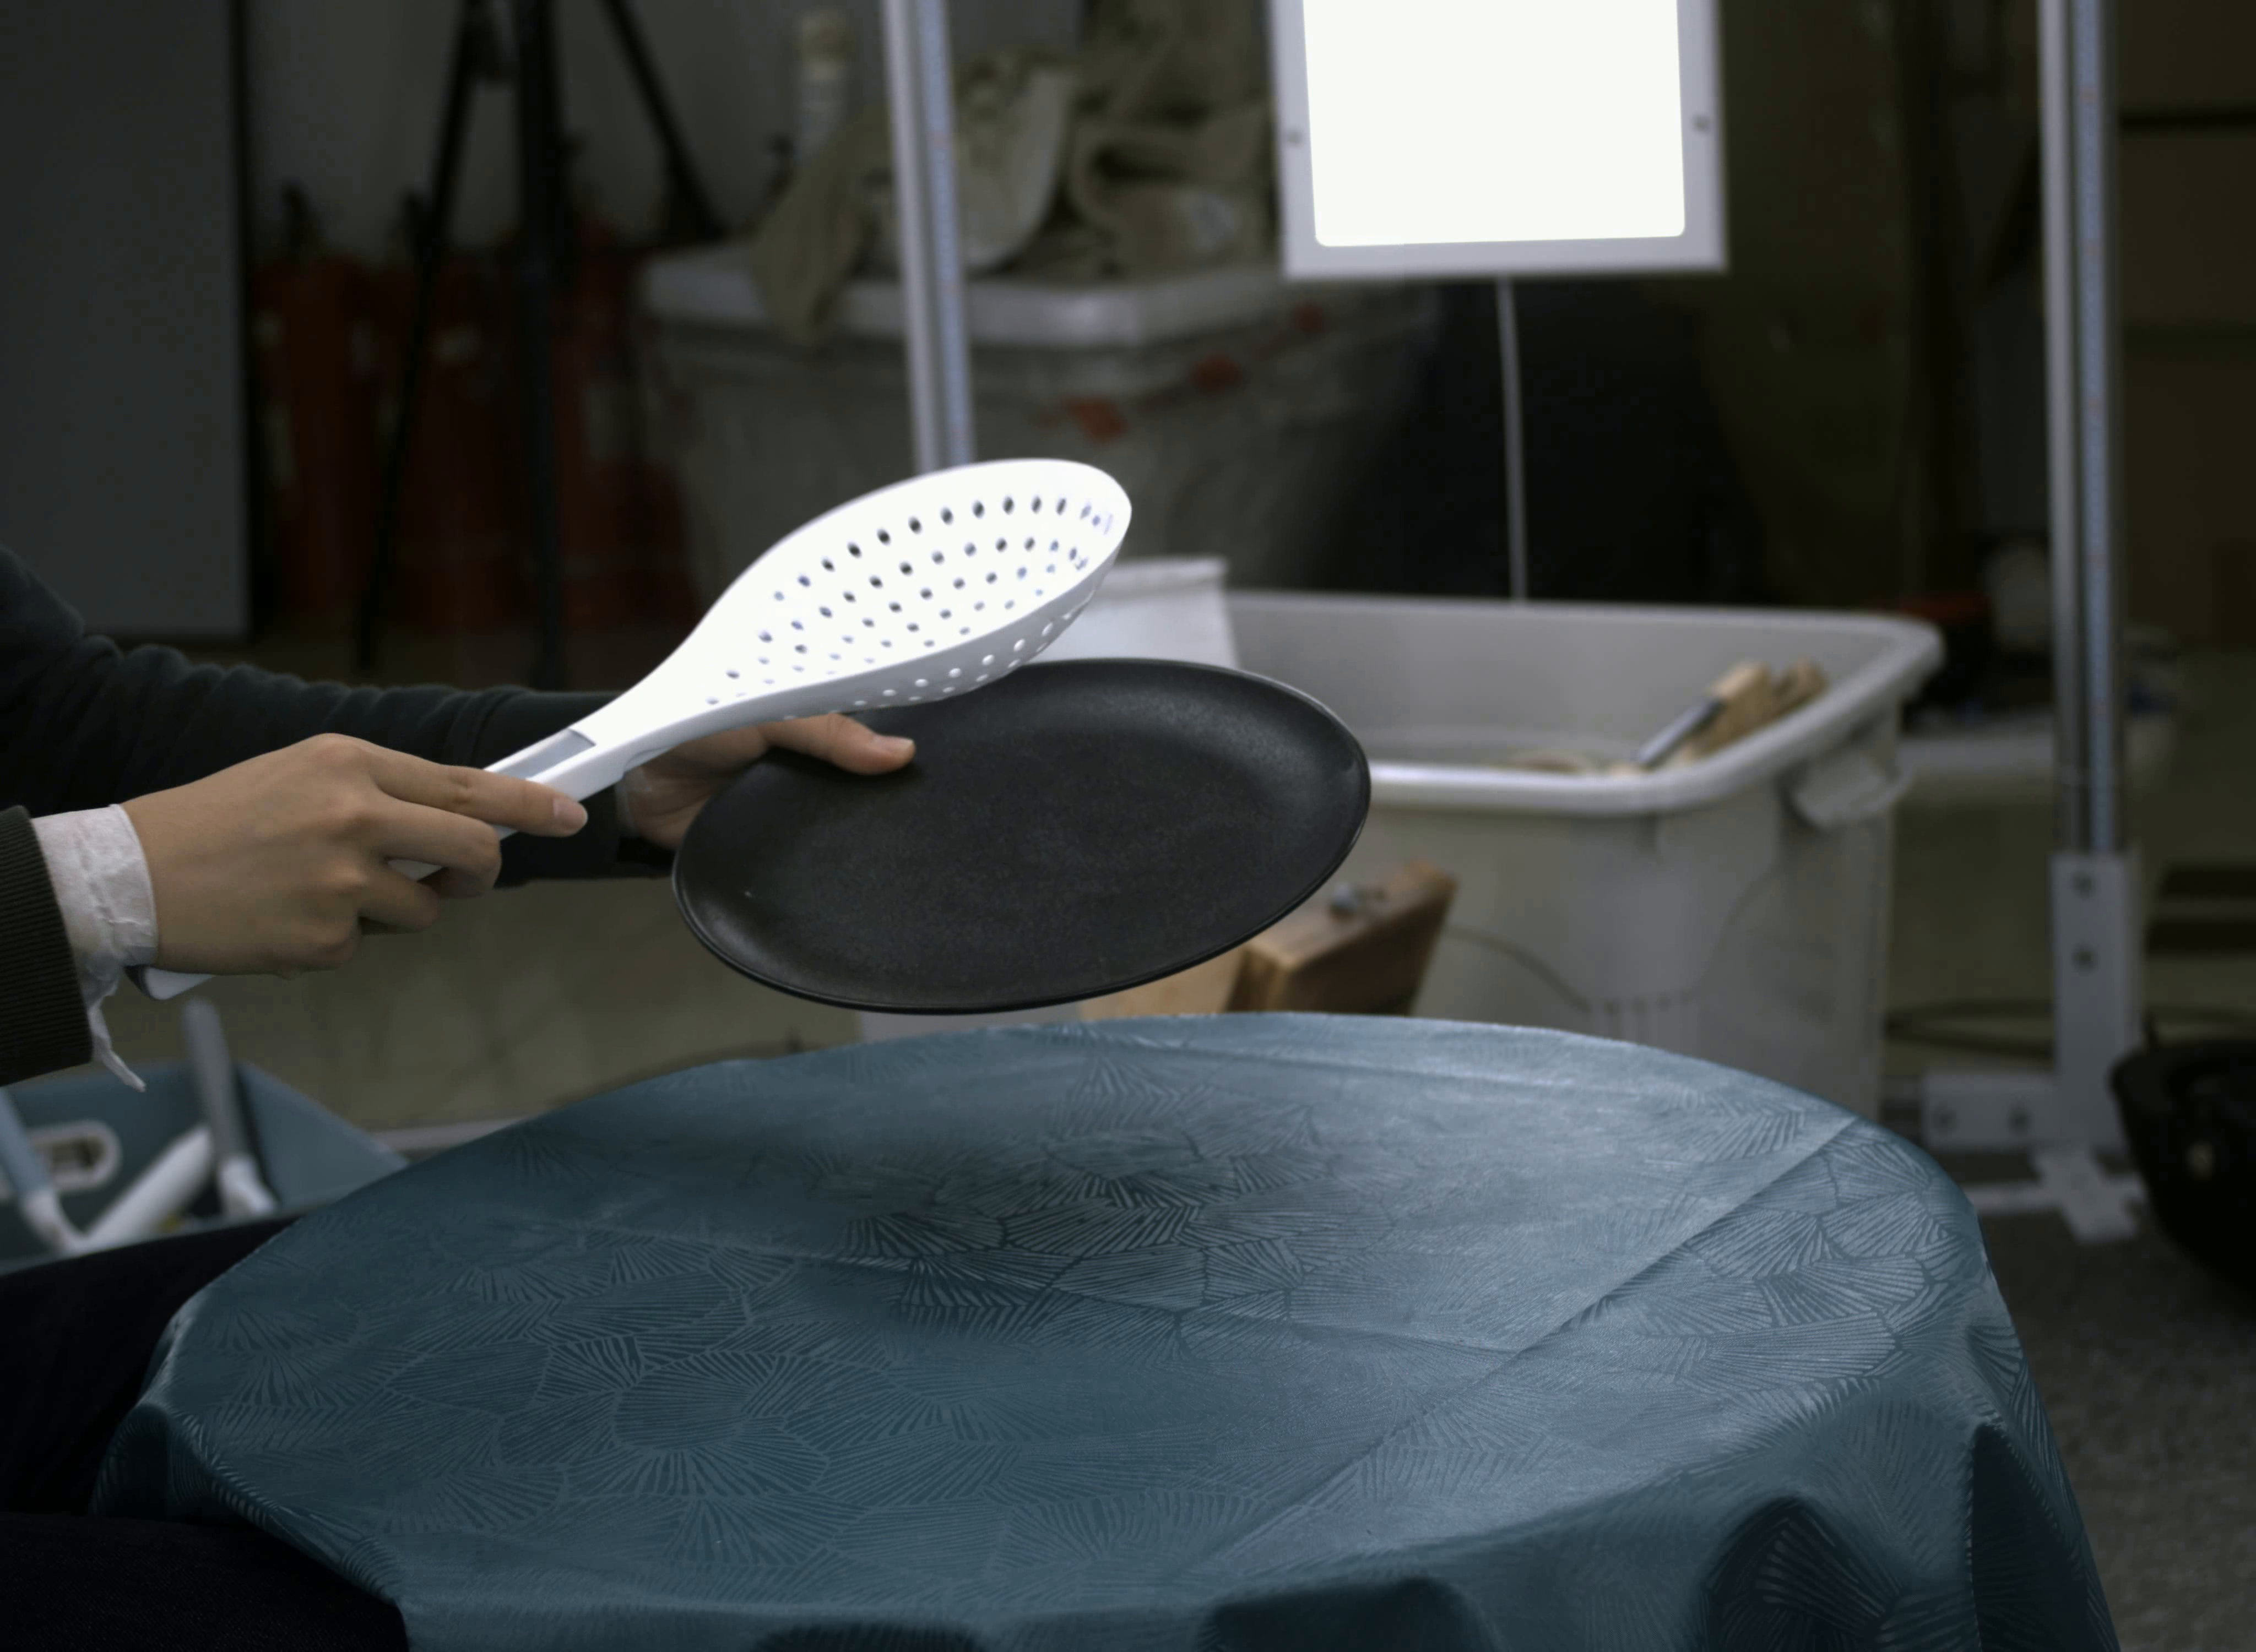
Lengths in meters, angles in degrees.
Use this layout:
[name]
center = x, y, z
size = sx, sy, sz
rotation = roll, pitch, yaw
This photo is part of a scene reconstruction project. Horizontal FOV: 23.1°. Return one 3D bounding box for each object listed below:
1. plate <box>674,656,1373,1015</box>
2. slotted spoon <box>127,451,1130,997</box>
[plate]
center = -0.035, 0.008, 1.891
size = 0.244, 0.023, 0.244
rotation = -9, 29, 3
[slotted spoon]
center = -0.152, -0.032, 1.722
size = 0.344, 0.046, 0.138
rotation = -24, 26, -19
